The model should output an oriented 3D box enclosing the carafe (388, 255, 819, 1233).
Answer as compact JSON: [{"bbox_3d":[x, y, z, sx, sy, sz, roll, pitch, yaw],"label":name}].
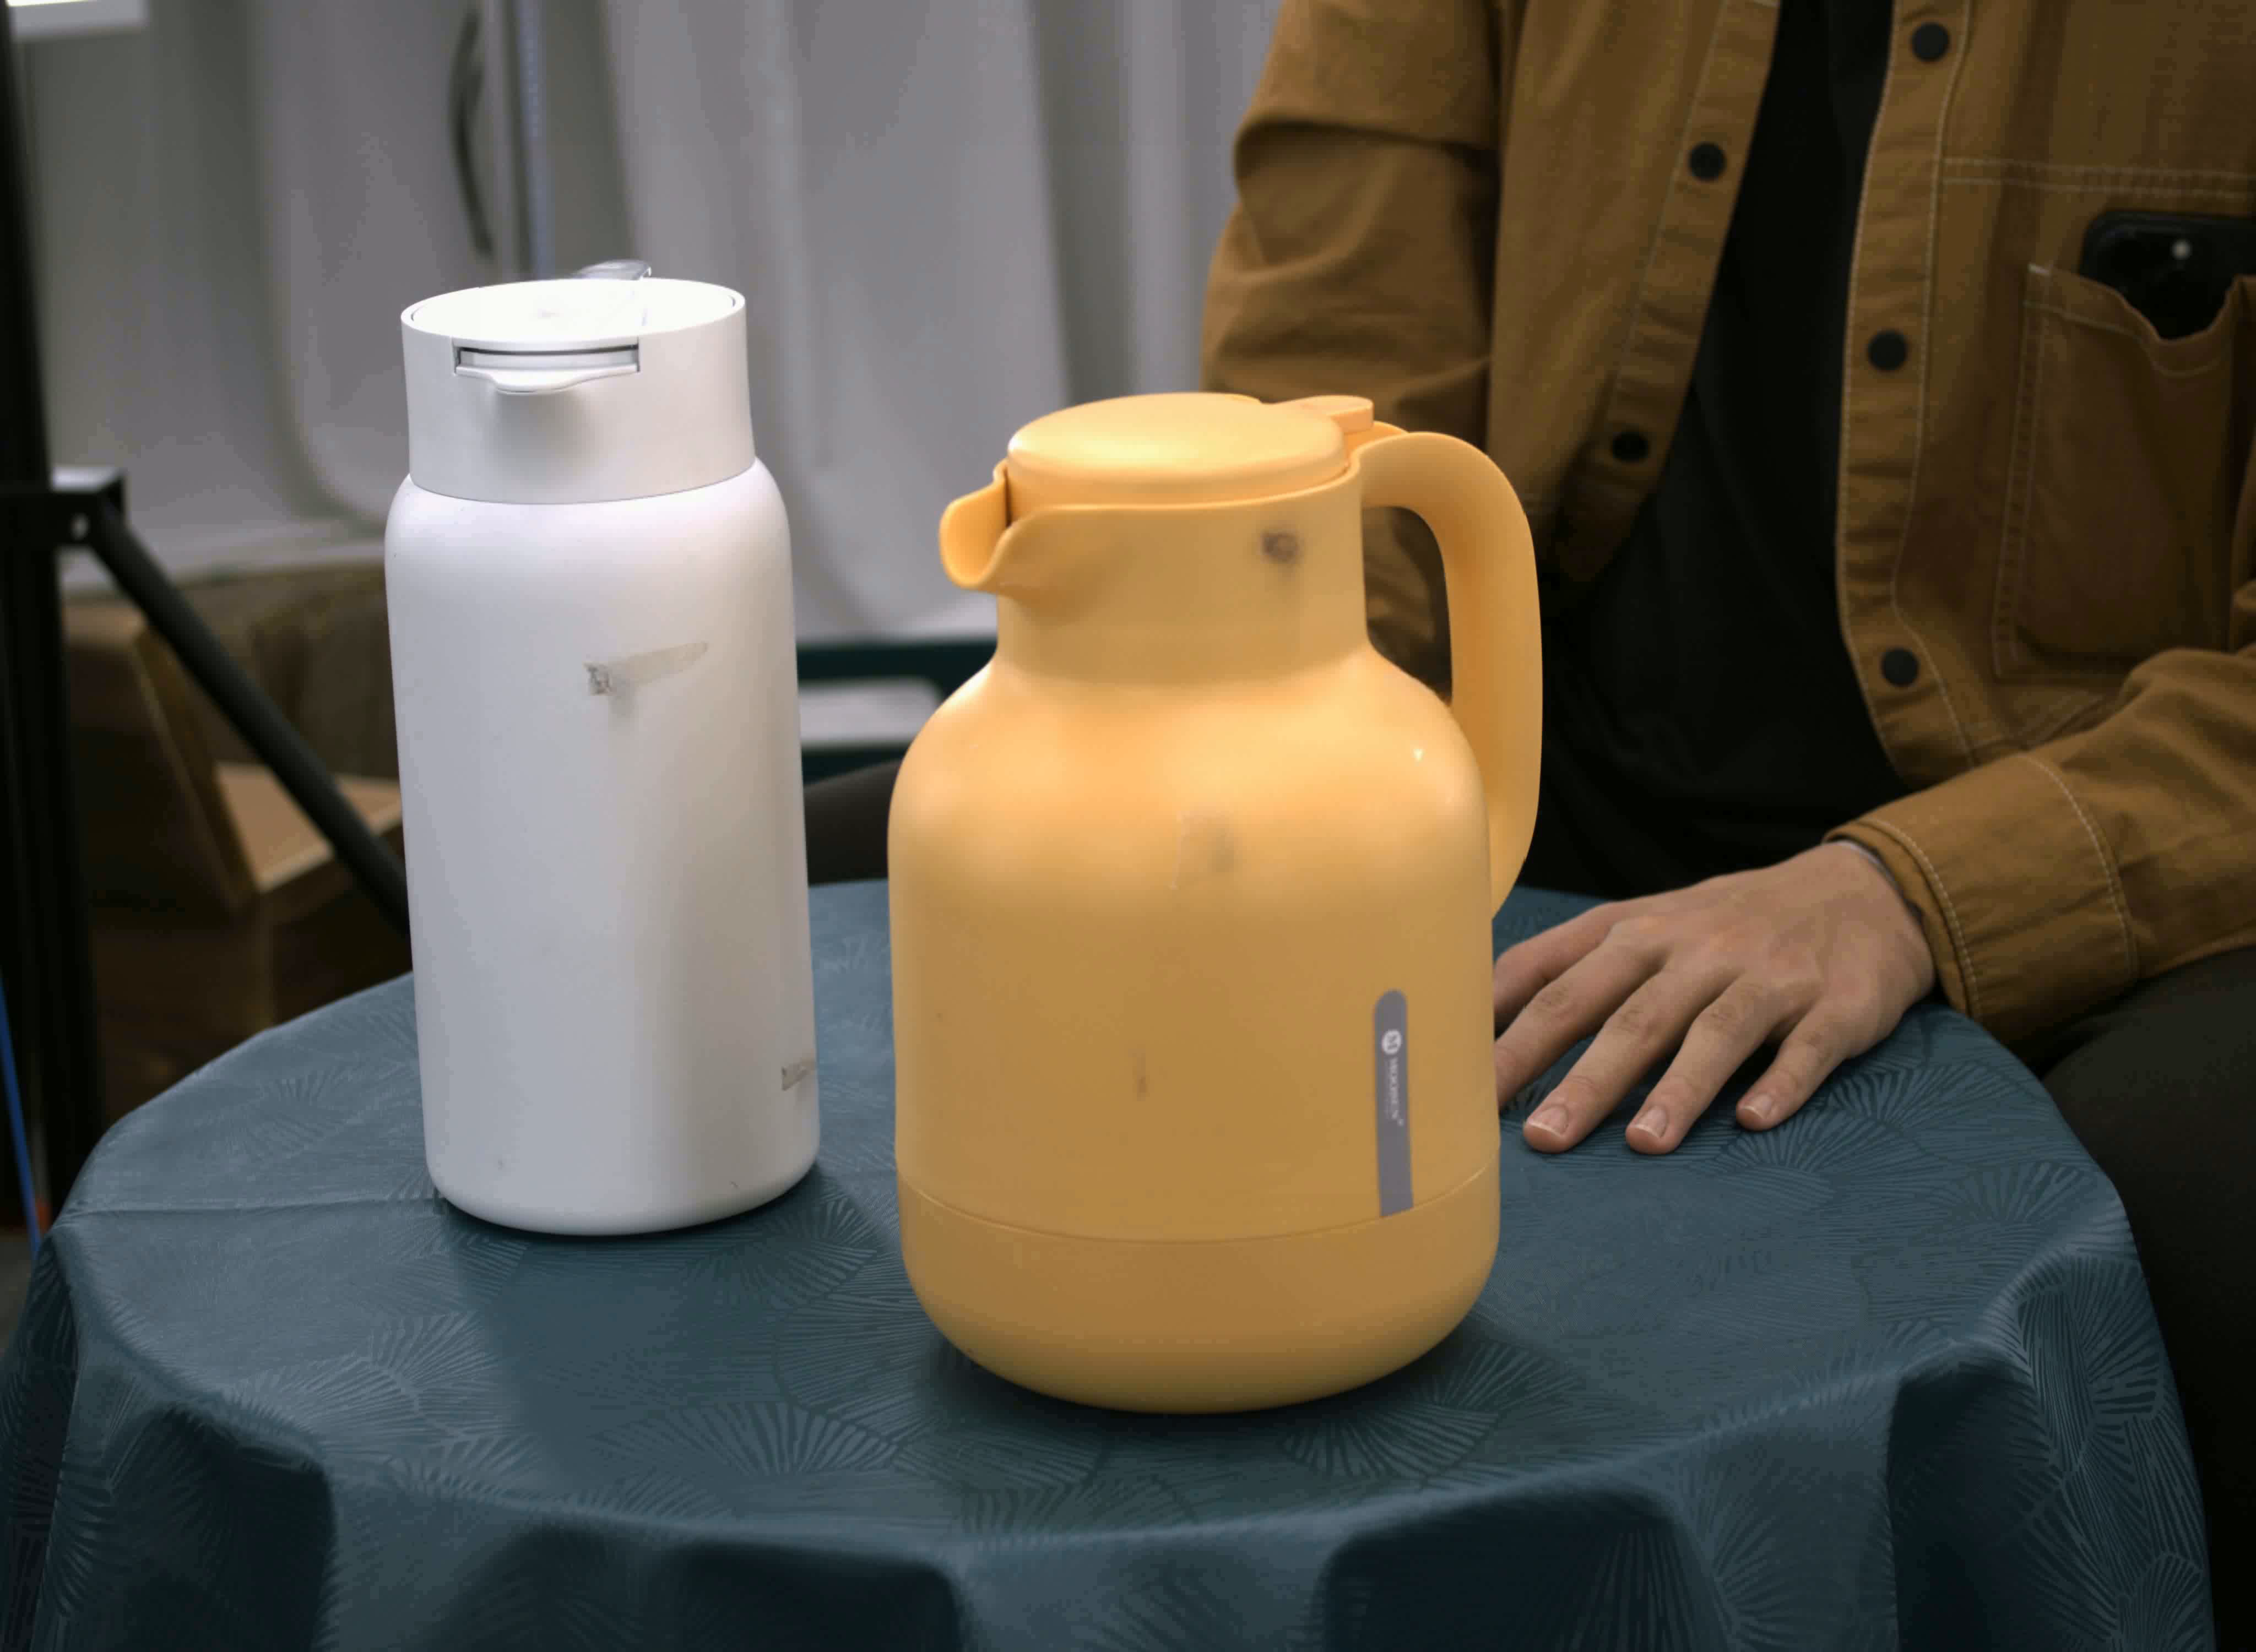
[{"bbox_3d":[-0.153,-0.028,1.571,0.124,0.269,0.172,-2,15,7],"label":"carafe"}]

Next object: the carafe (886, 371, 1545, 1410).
[{"bbox_3d":[0.033,0.010,1.414,0.198,0.260,0.167,-15,23,-35],"label":"carafe"}]
